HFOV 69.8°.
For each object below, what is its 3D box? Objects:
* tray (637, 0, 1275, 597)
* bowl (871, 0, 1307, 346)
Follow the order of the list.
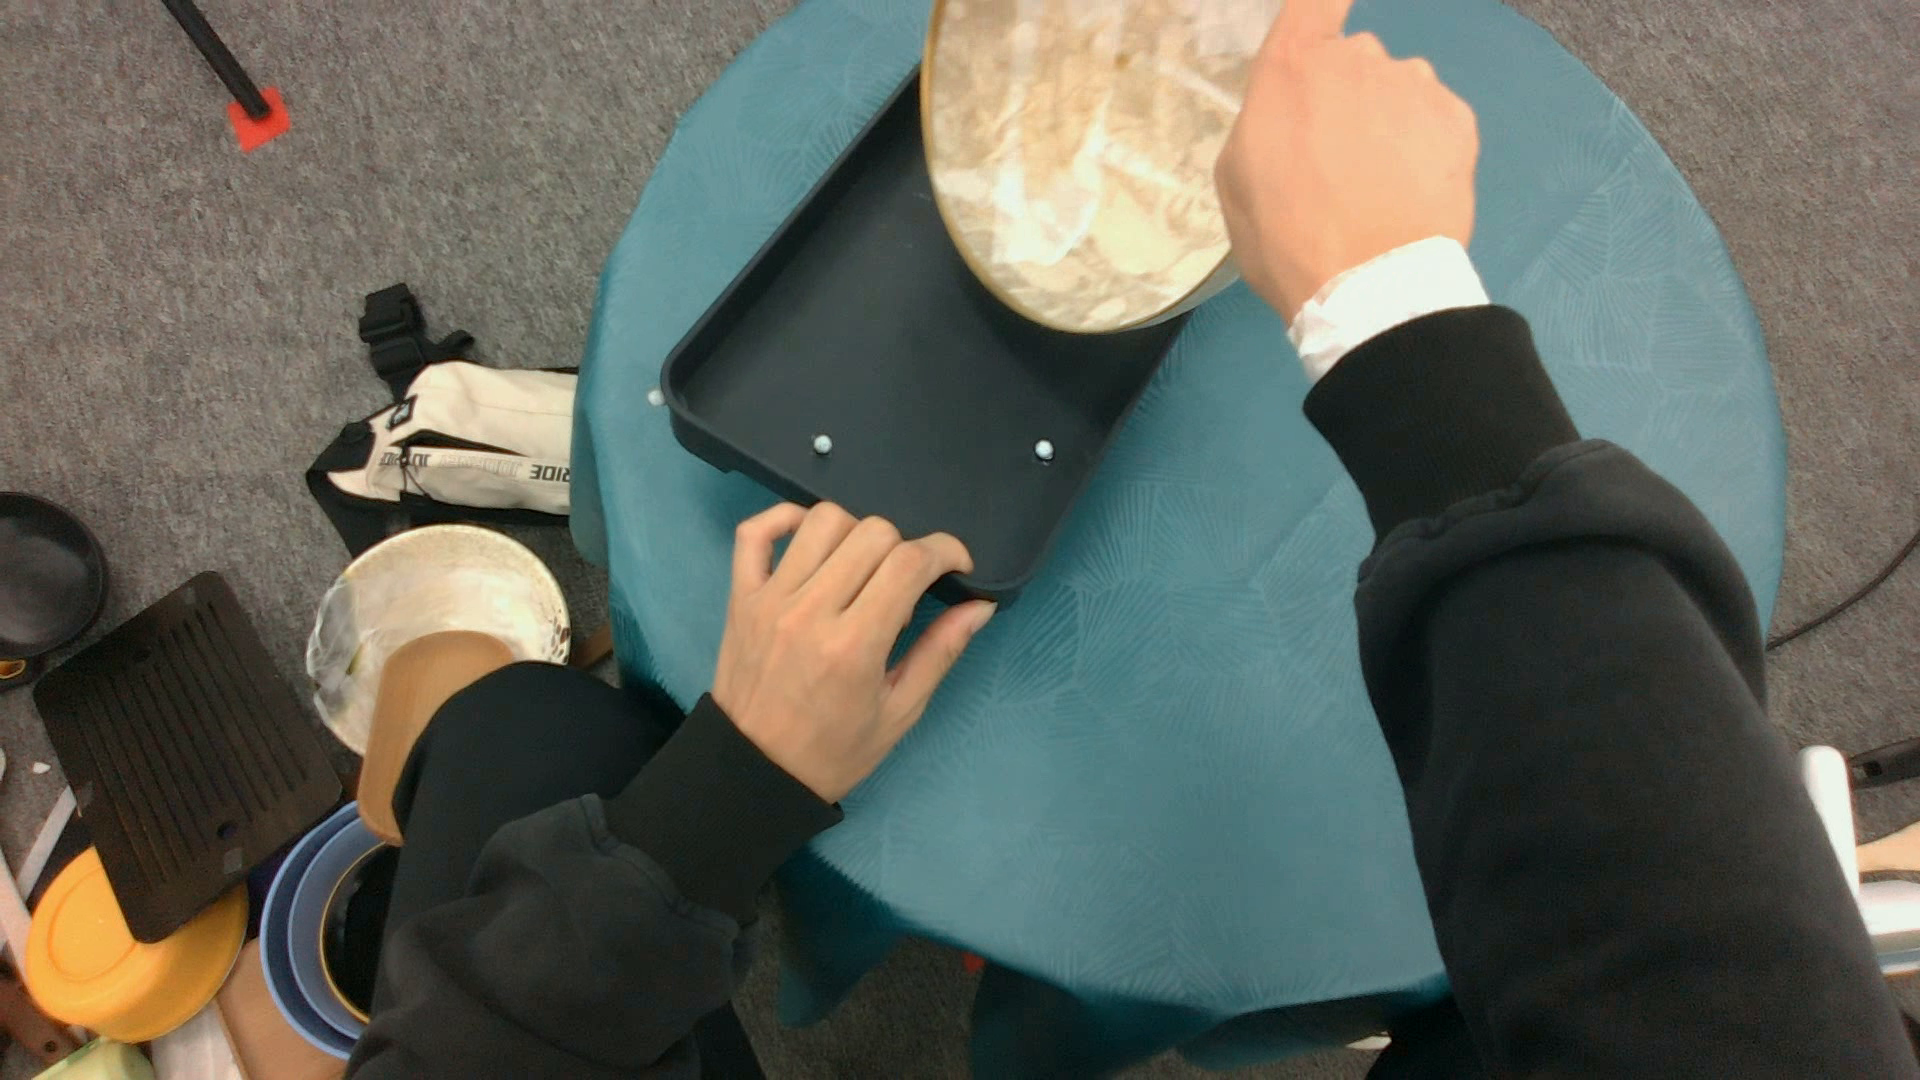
[{"bbox_3d":[0.010,-0.133,0.656,0.184,0.037,0.319,31,61,7],"label":"tray"},{"bbox_3d":[0.068,-0.195,0.601,0.095,0.213,0.215,-16,69,-46],"label":"bowl"}]
